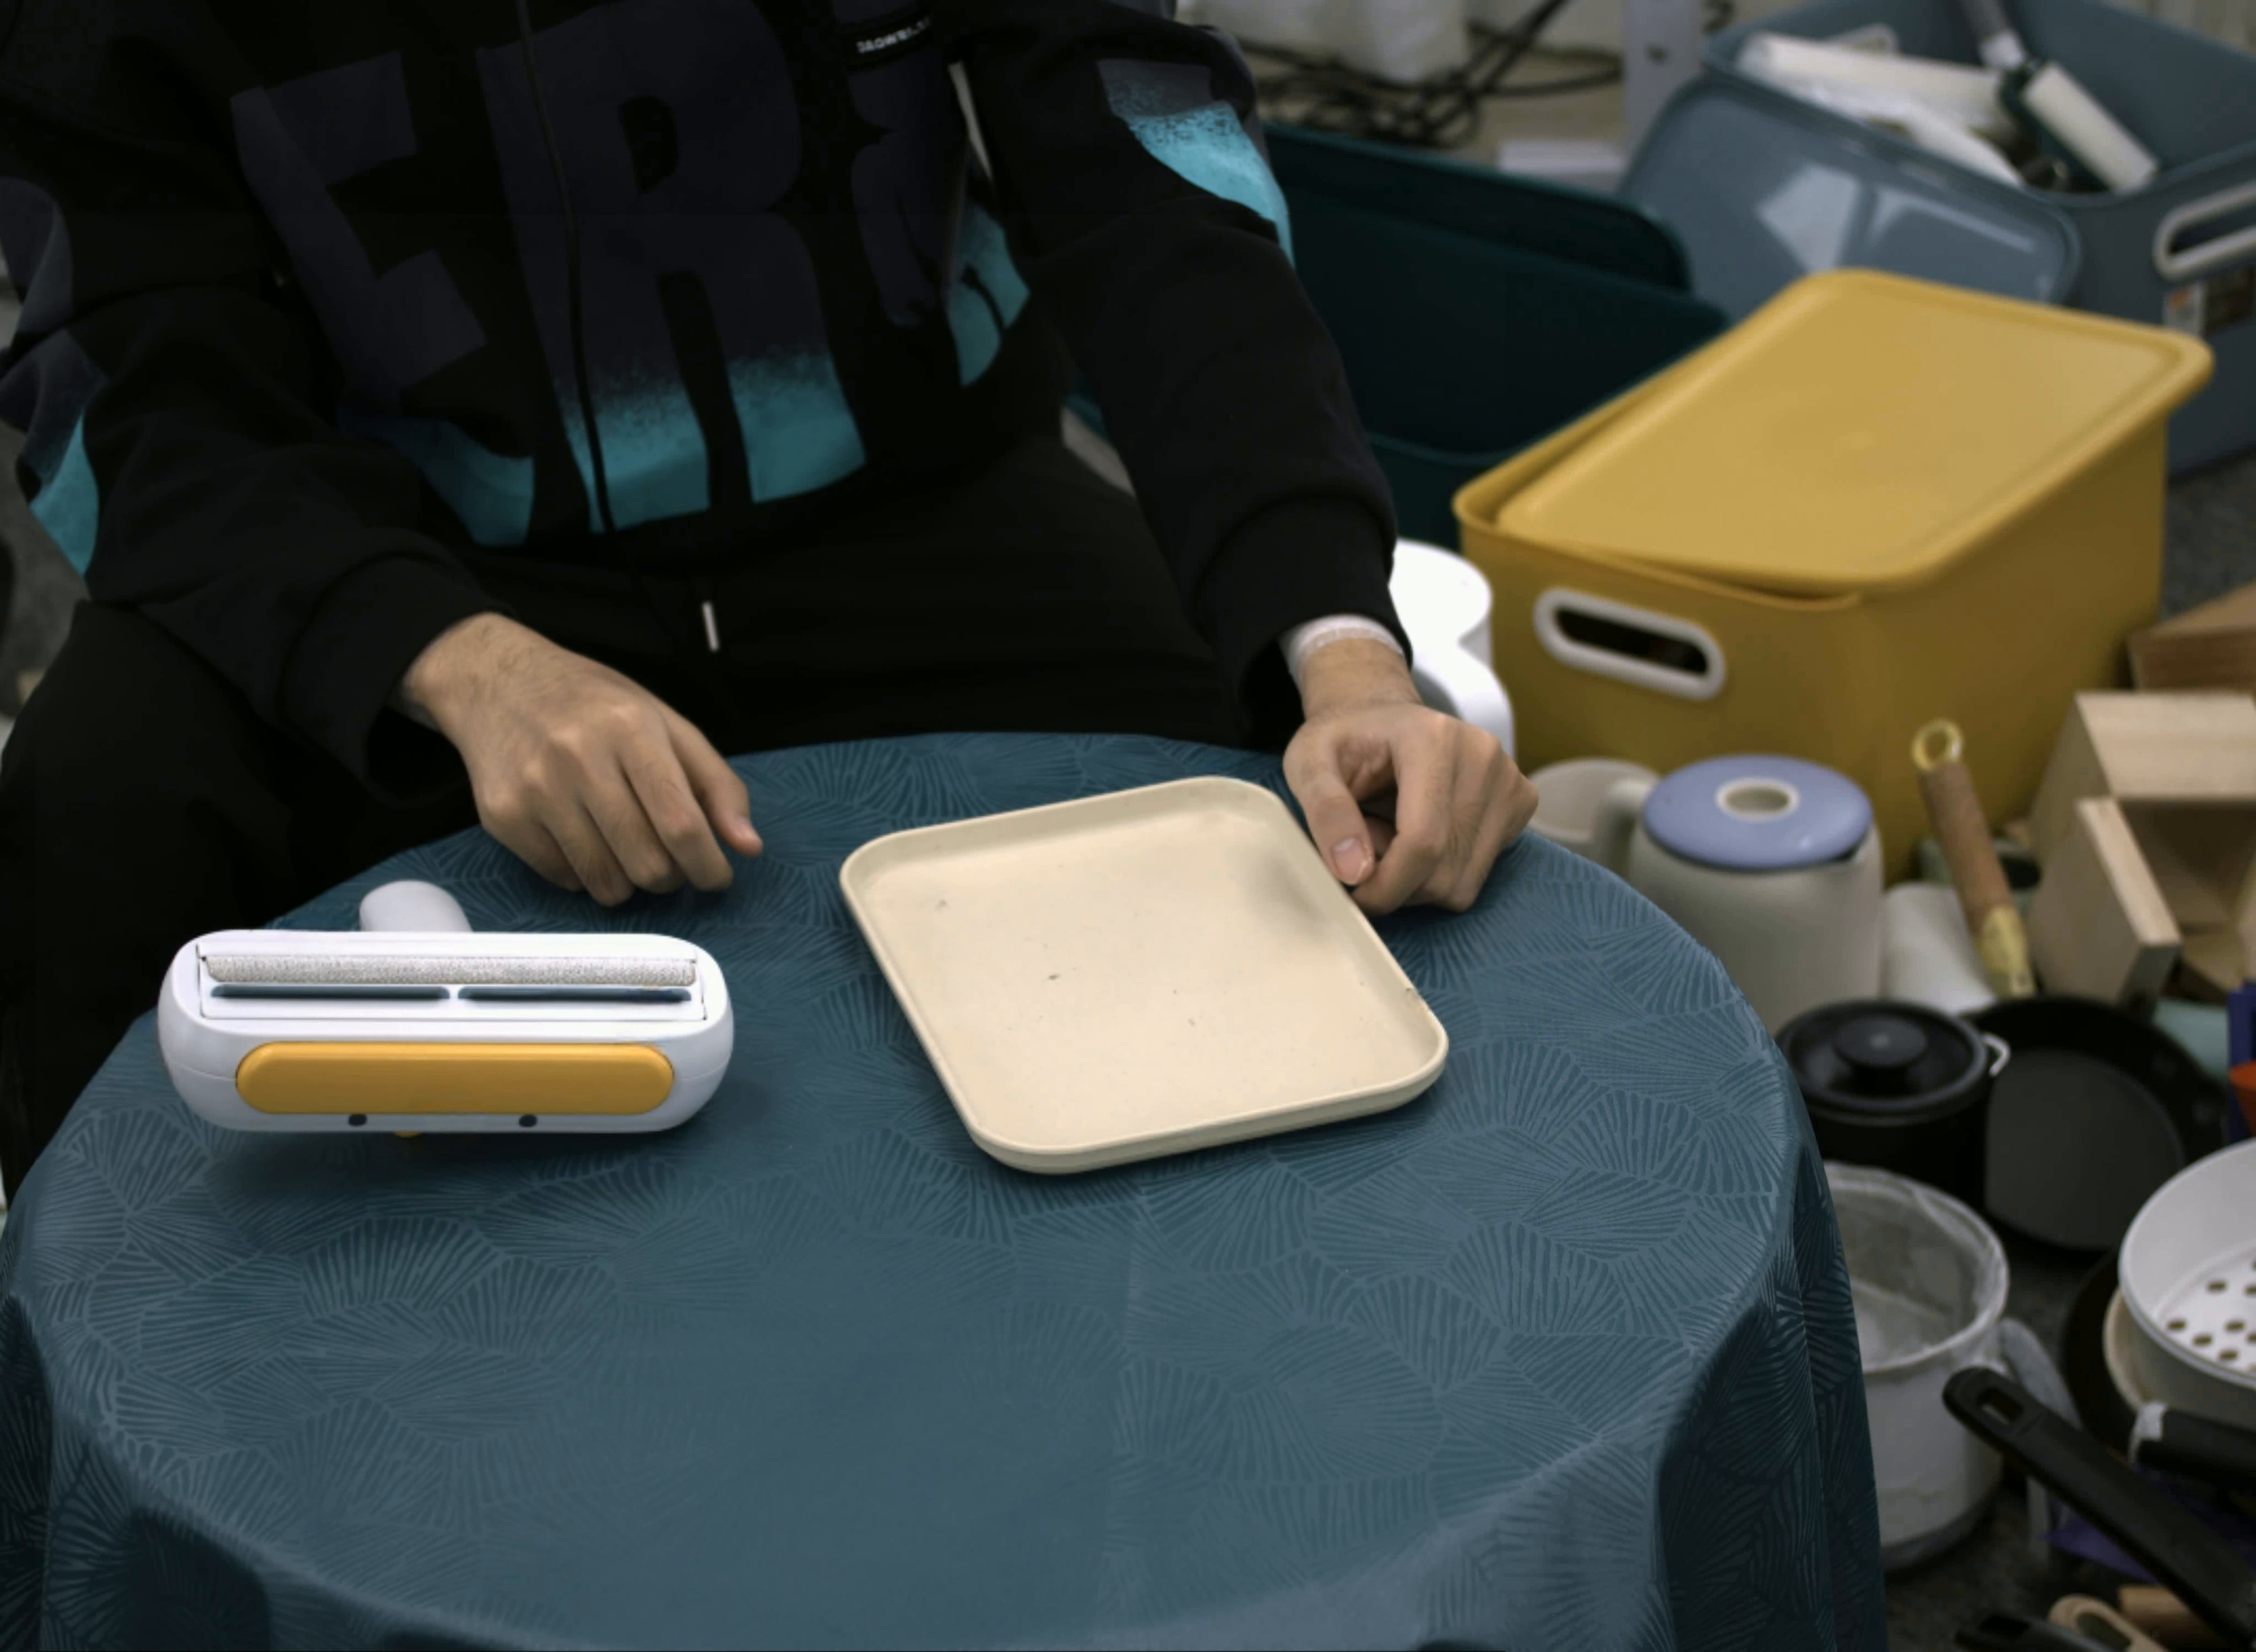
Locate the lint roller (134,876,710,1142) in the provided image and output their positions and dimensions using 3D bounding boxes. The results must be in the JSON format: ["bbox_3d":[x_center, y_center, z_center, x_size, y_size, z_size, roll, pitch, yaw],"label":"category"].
[{"bbox_3d":[-0.245,0.051,1.947,0.192,0.073,0.195,-2,25,-8],"label":"lint roller"}]

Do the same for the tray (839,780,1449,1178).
[{"bbox_3d":[0.002,0.052,1.974,0.171,0.017,0.242,-10,28,-13],"label":"tray"}]
